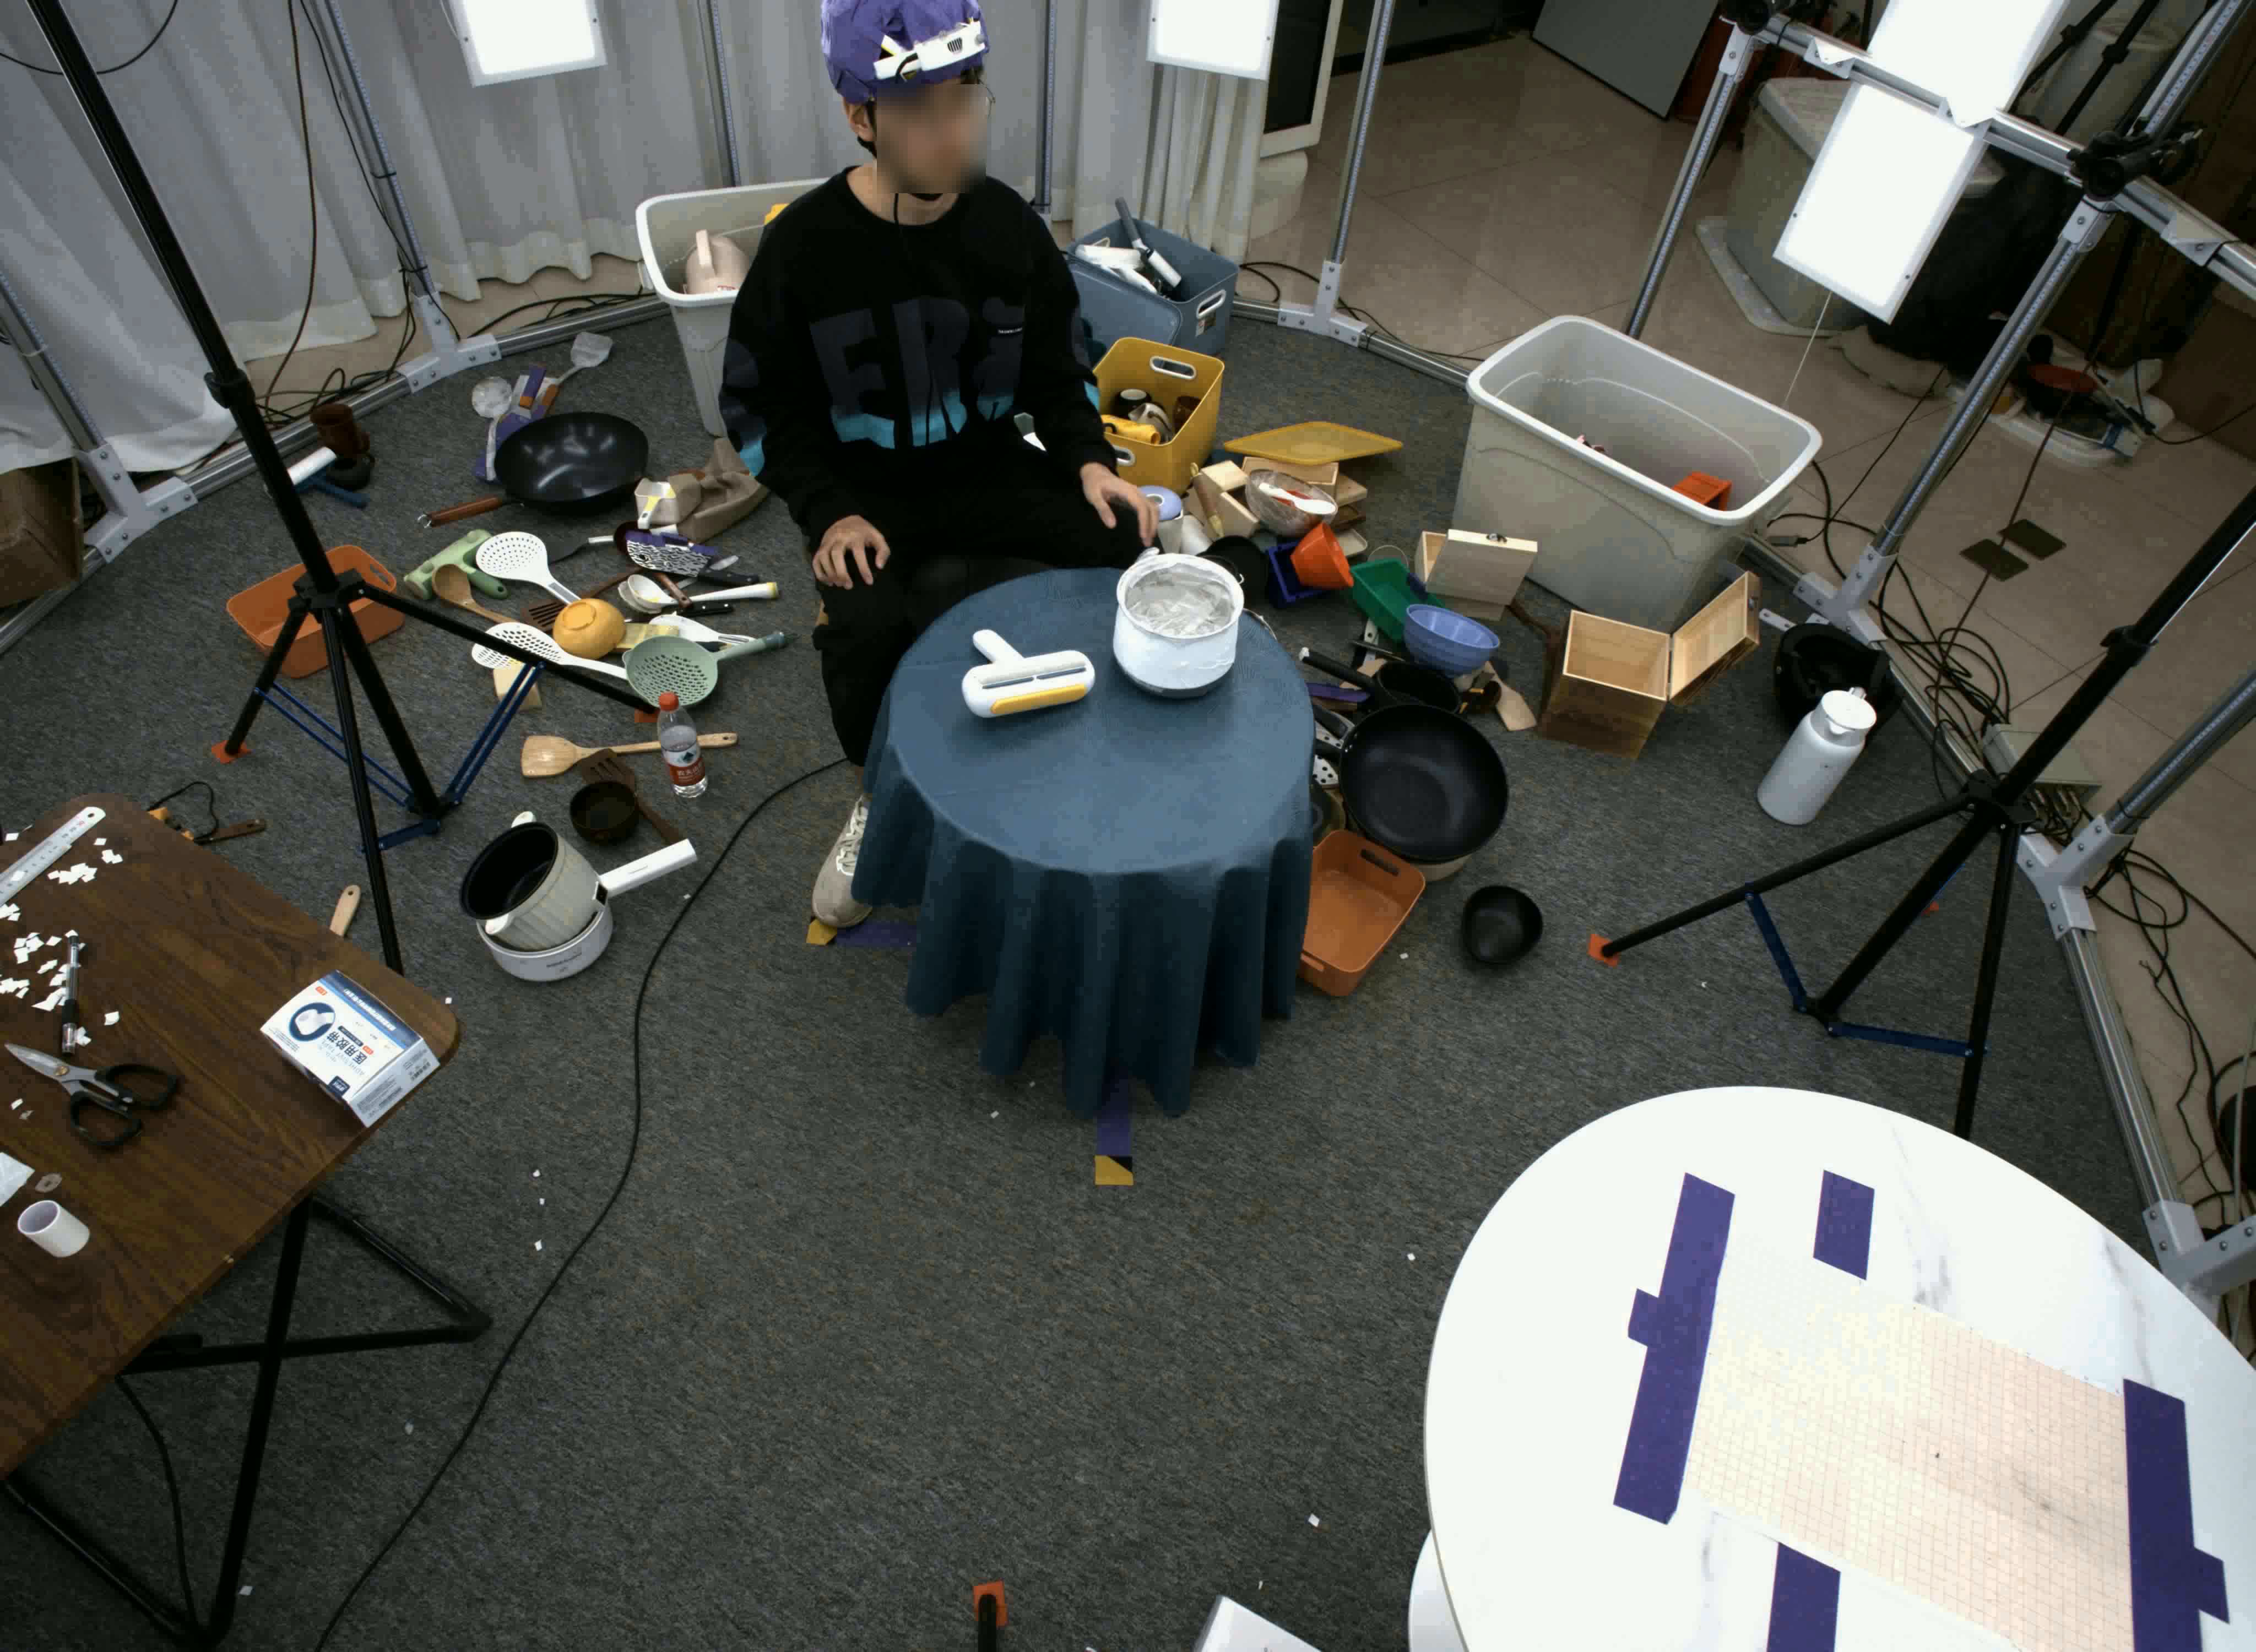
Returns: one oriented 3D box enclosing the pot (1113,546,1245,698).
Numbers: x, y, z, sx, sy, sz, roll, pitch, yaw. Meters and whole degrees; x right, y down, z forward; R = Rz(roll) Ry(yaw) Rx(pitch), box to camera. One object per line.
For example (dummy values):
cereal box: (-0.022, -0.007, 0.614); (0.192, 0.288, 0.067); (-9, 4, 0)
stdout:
pot: (0.059, -0.302, 1.843); (0.179, 0.133, 0.239); (-14, 53, -18)

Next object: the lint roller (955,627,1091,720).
lint roller: (-0.168, -0.231, 1.814); (0.193, 0.072, 0.197); (-14, 50, -22)
